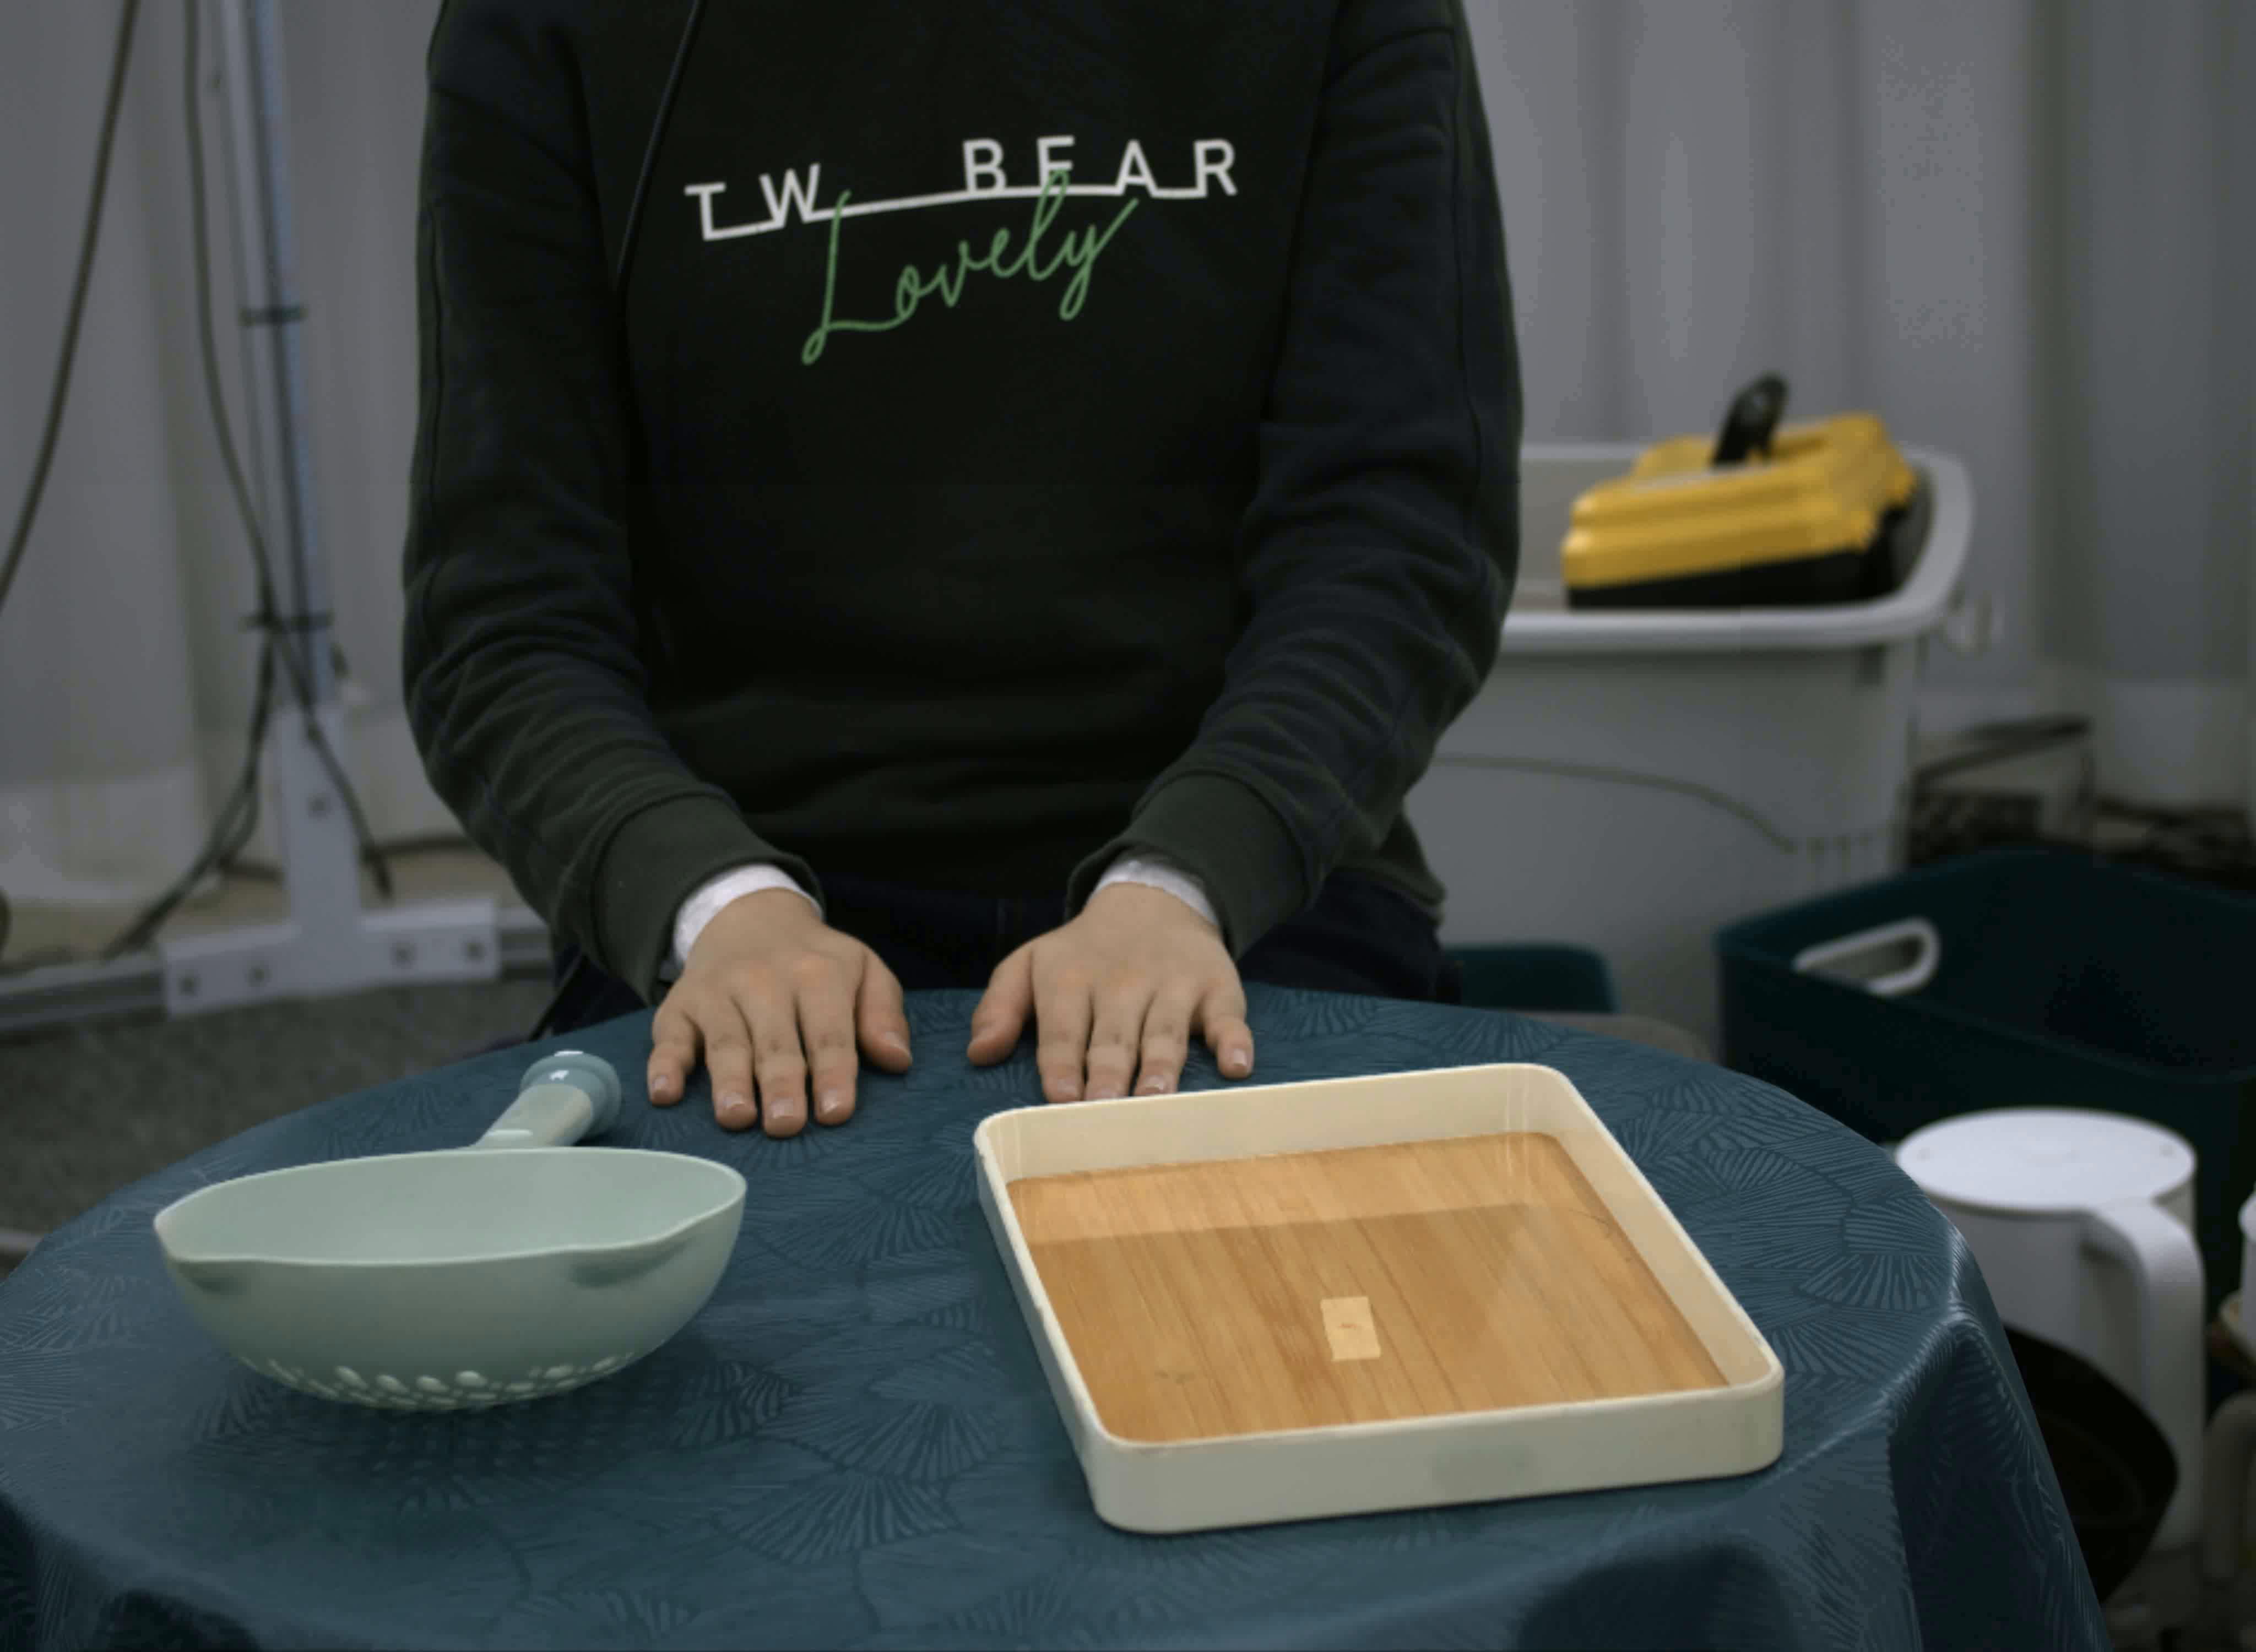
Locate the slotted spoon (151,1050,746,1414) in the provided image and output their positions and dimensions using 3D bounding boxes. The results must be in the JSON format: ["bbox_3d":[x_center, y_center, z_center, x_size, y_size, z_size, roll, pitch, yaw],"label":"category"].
[{"bbox_3d":[-0.187,0.107,1.654,0.169,0.075,0.361,-1,15,3],"label":"slotted spoon"}]

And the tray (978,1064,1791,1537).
[{"bbox_3d":[0.066,0.132,1.586,0.191,0.027,0.302,-5,15,-7],"label":"tray"}]
